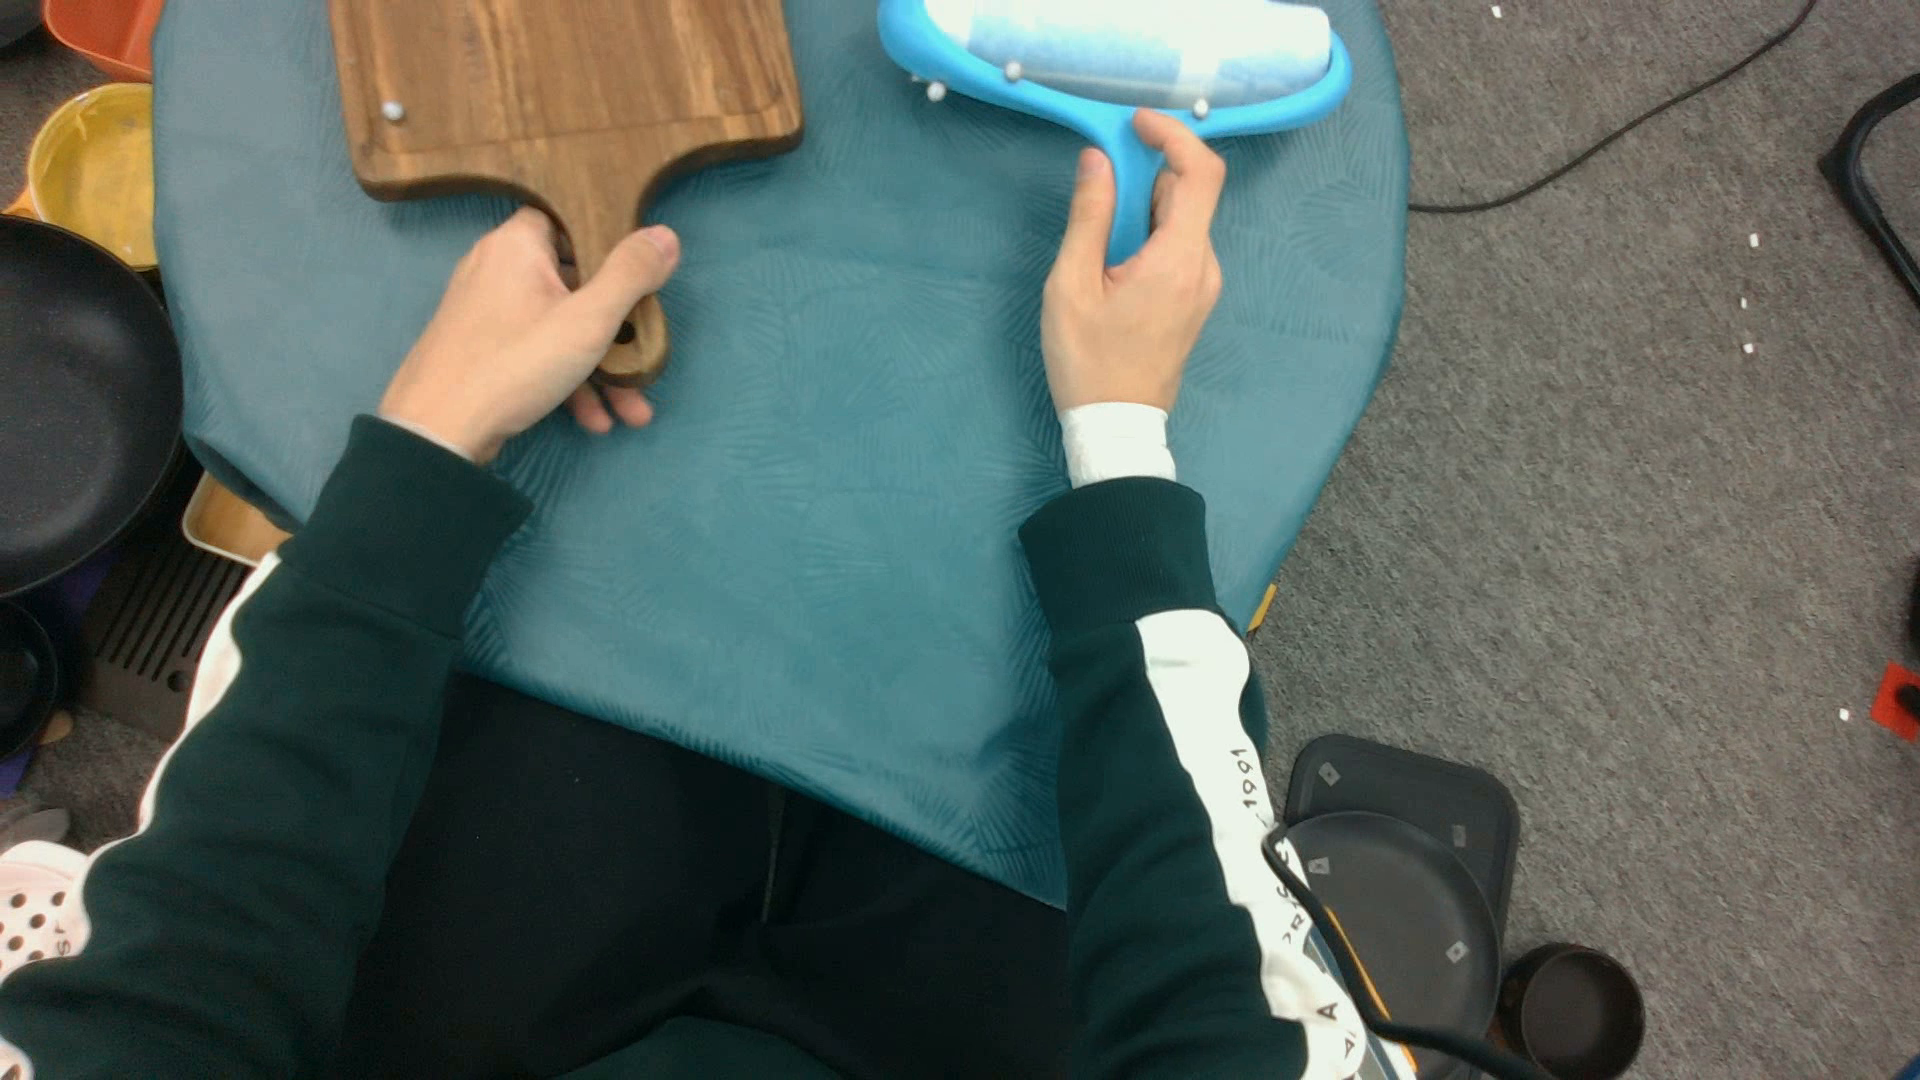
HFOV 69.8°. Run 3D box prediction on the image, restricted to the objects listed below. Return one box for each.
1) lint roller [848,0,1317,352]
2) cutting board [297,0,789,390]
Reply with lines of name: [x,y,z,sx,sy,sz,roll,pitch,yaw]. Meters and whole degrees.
lint roller: [0.065,-0.184,0.652,0.229,0.068,0.180,-2,81,-13]
cutting board: [-0.192,-0.234,0.626,0.201,0.023,0.352,-13,79,-11]
